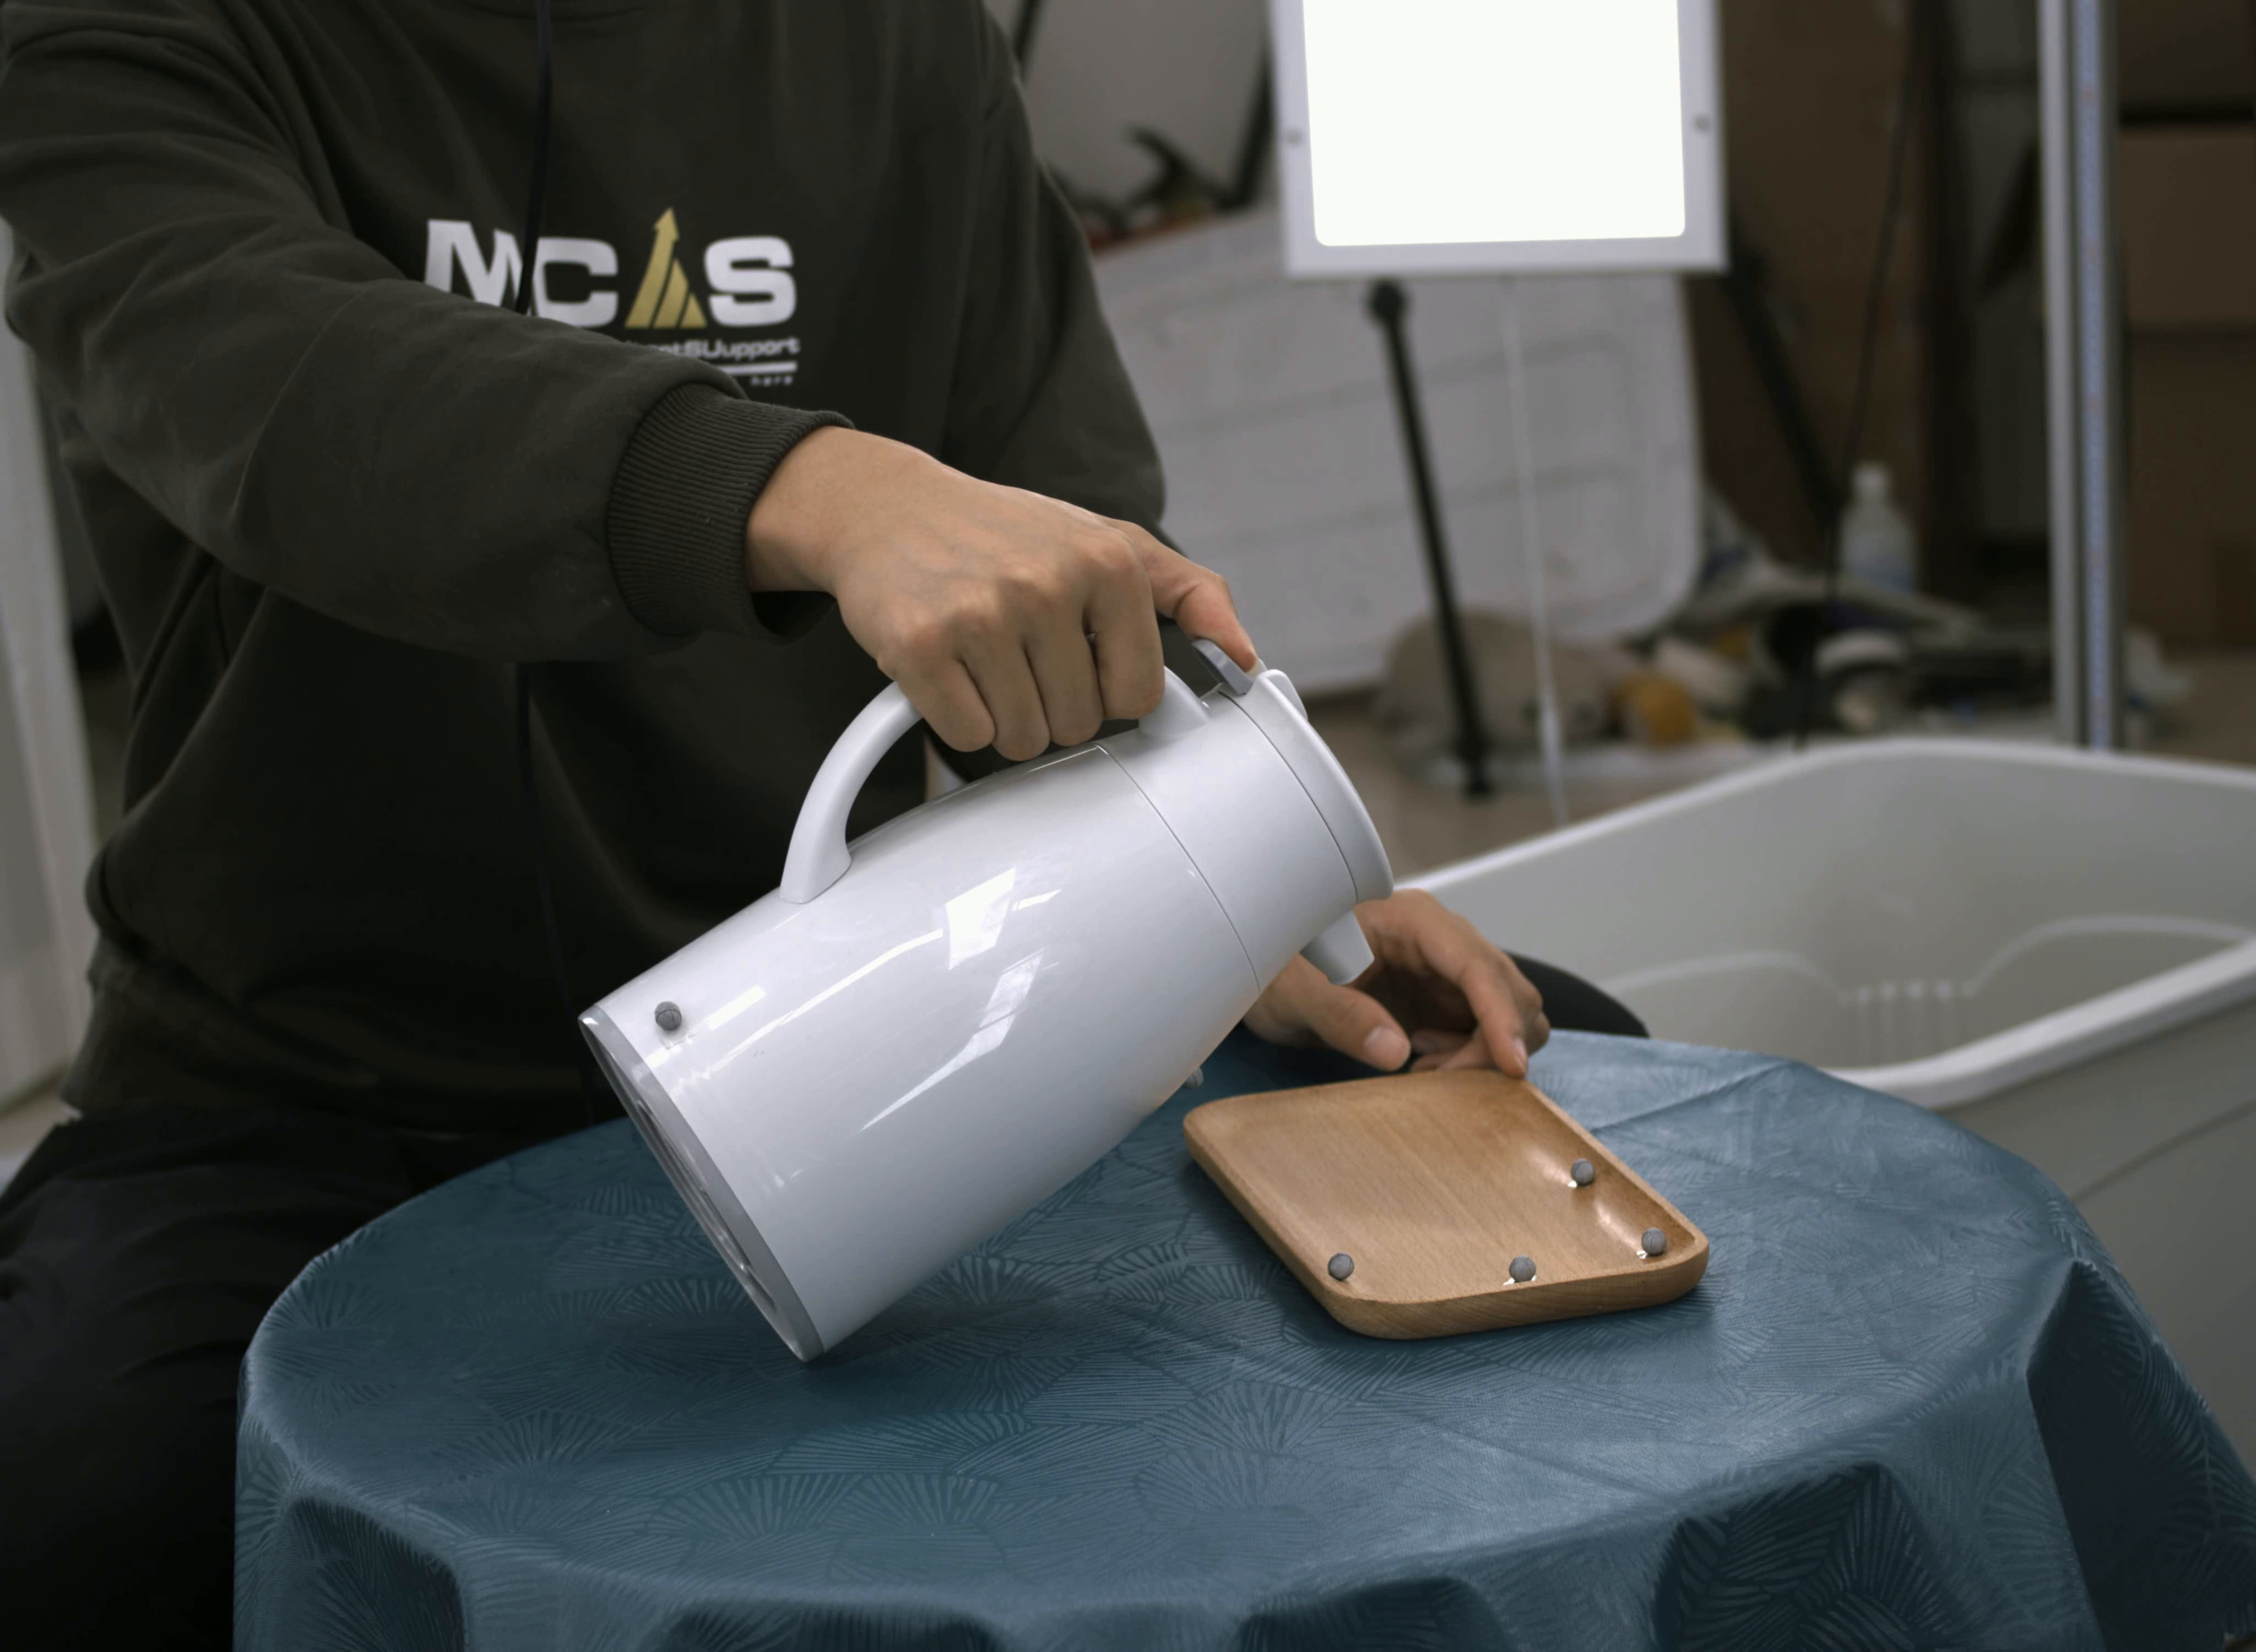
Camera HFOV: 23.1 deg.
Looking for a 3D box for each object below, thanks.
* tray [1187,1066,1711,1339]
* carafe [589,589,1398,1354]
[{"bbox_3d":[0.104,0.124,1.841,0.129,0.023,0.252,-5,12,-10],"label":"tray"},{"bbox_3d":[-0.043,0.028,1.744,0.247,0.167,0.134,-36,21,-5],"label":"carafe"}]
